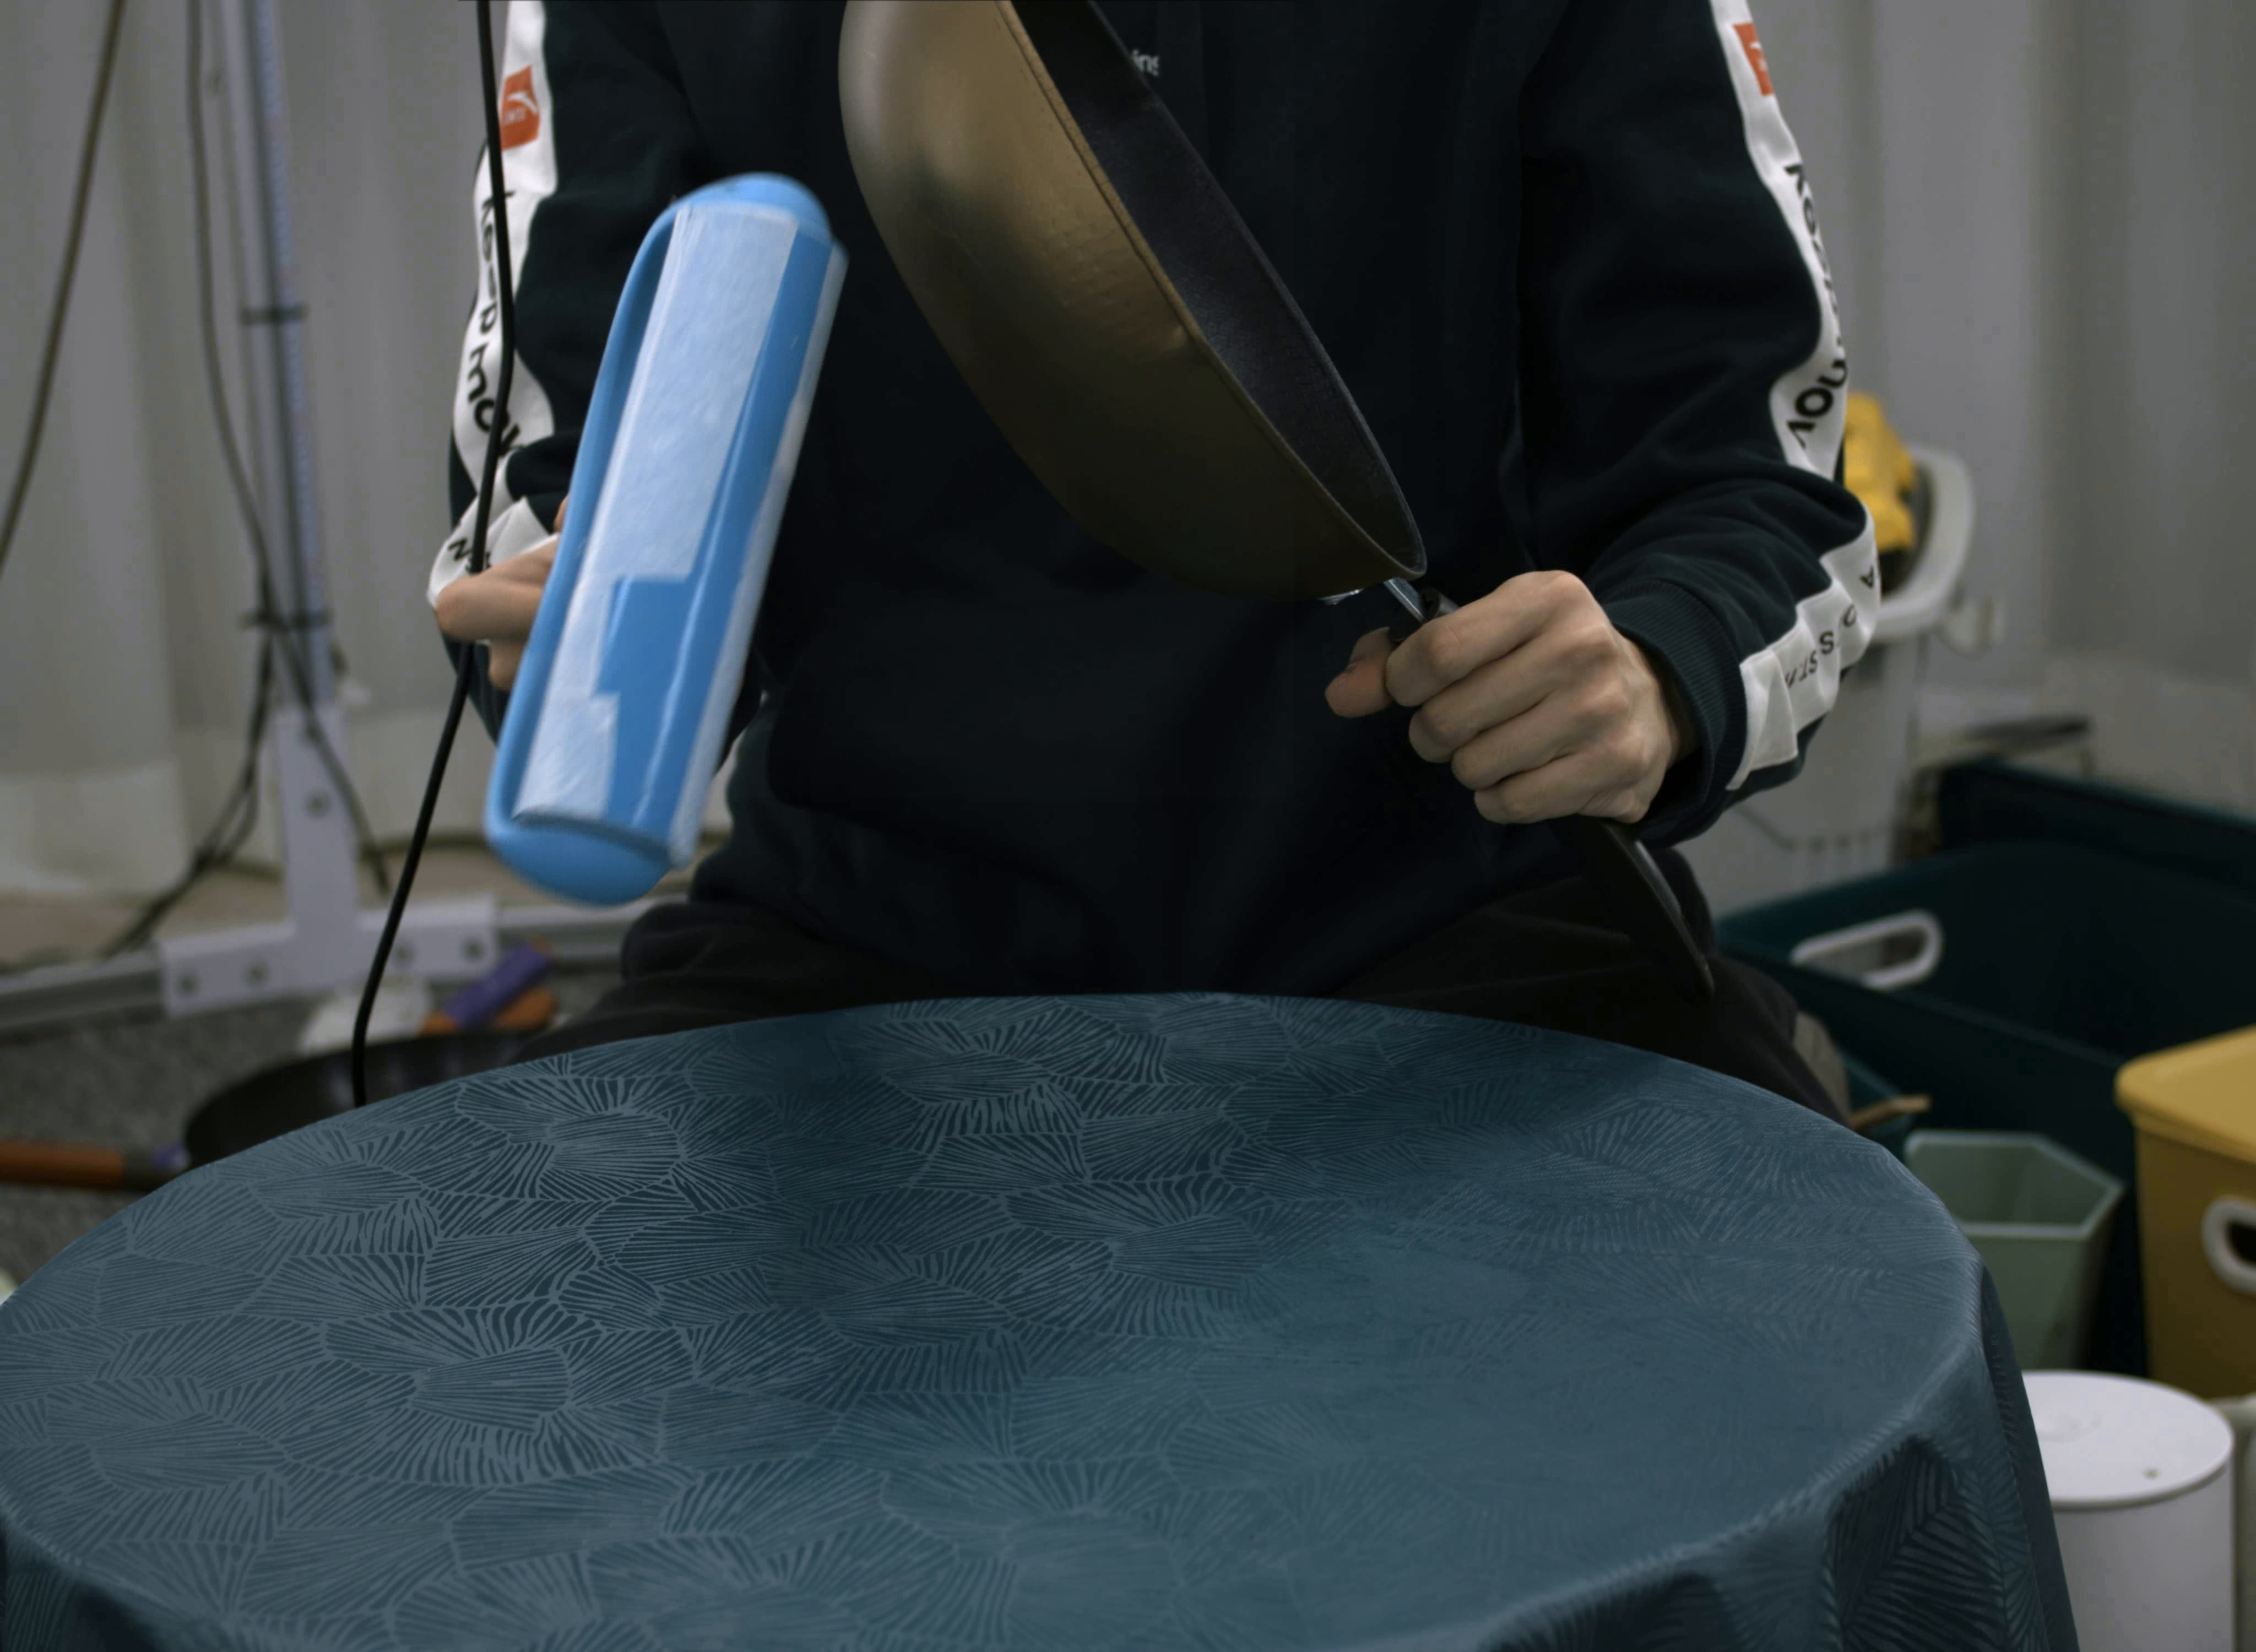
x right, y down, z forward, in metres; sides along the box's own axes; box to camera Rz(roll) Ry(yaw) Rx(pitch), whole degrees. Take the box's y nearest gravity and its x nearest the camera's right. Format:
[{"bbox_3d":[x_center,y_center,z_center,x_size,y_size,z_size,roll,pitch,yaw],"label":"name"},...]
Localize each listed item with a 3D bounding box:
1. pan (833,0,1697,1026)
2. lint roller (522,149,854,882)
[{"bbox_3d":[0.034,-0.107,1.768,0.086,0.460,0.291,-31,17,10],"label":"pan"},{"bbox_3d":[-0.141,-0.078,1.676,0.067,0.231,0.179,13,-19,-12],"label":"lint roller"}]
